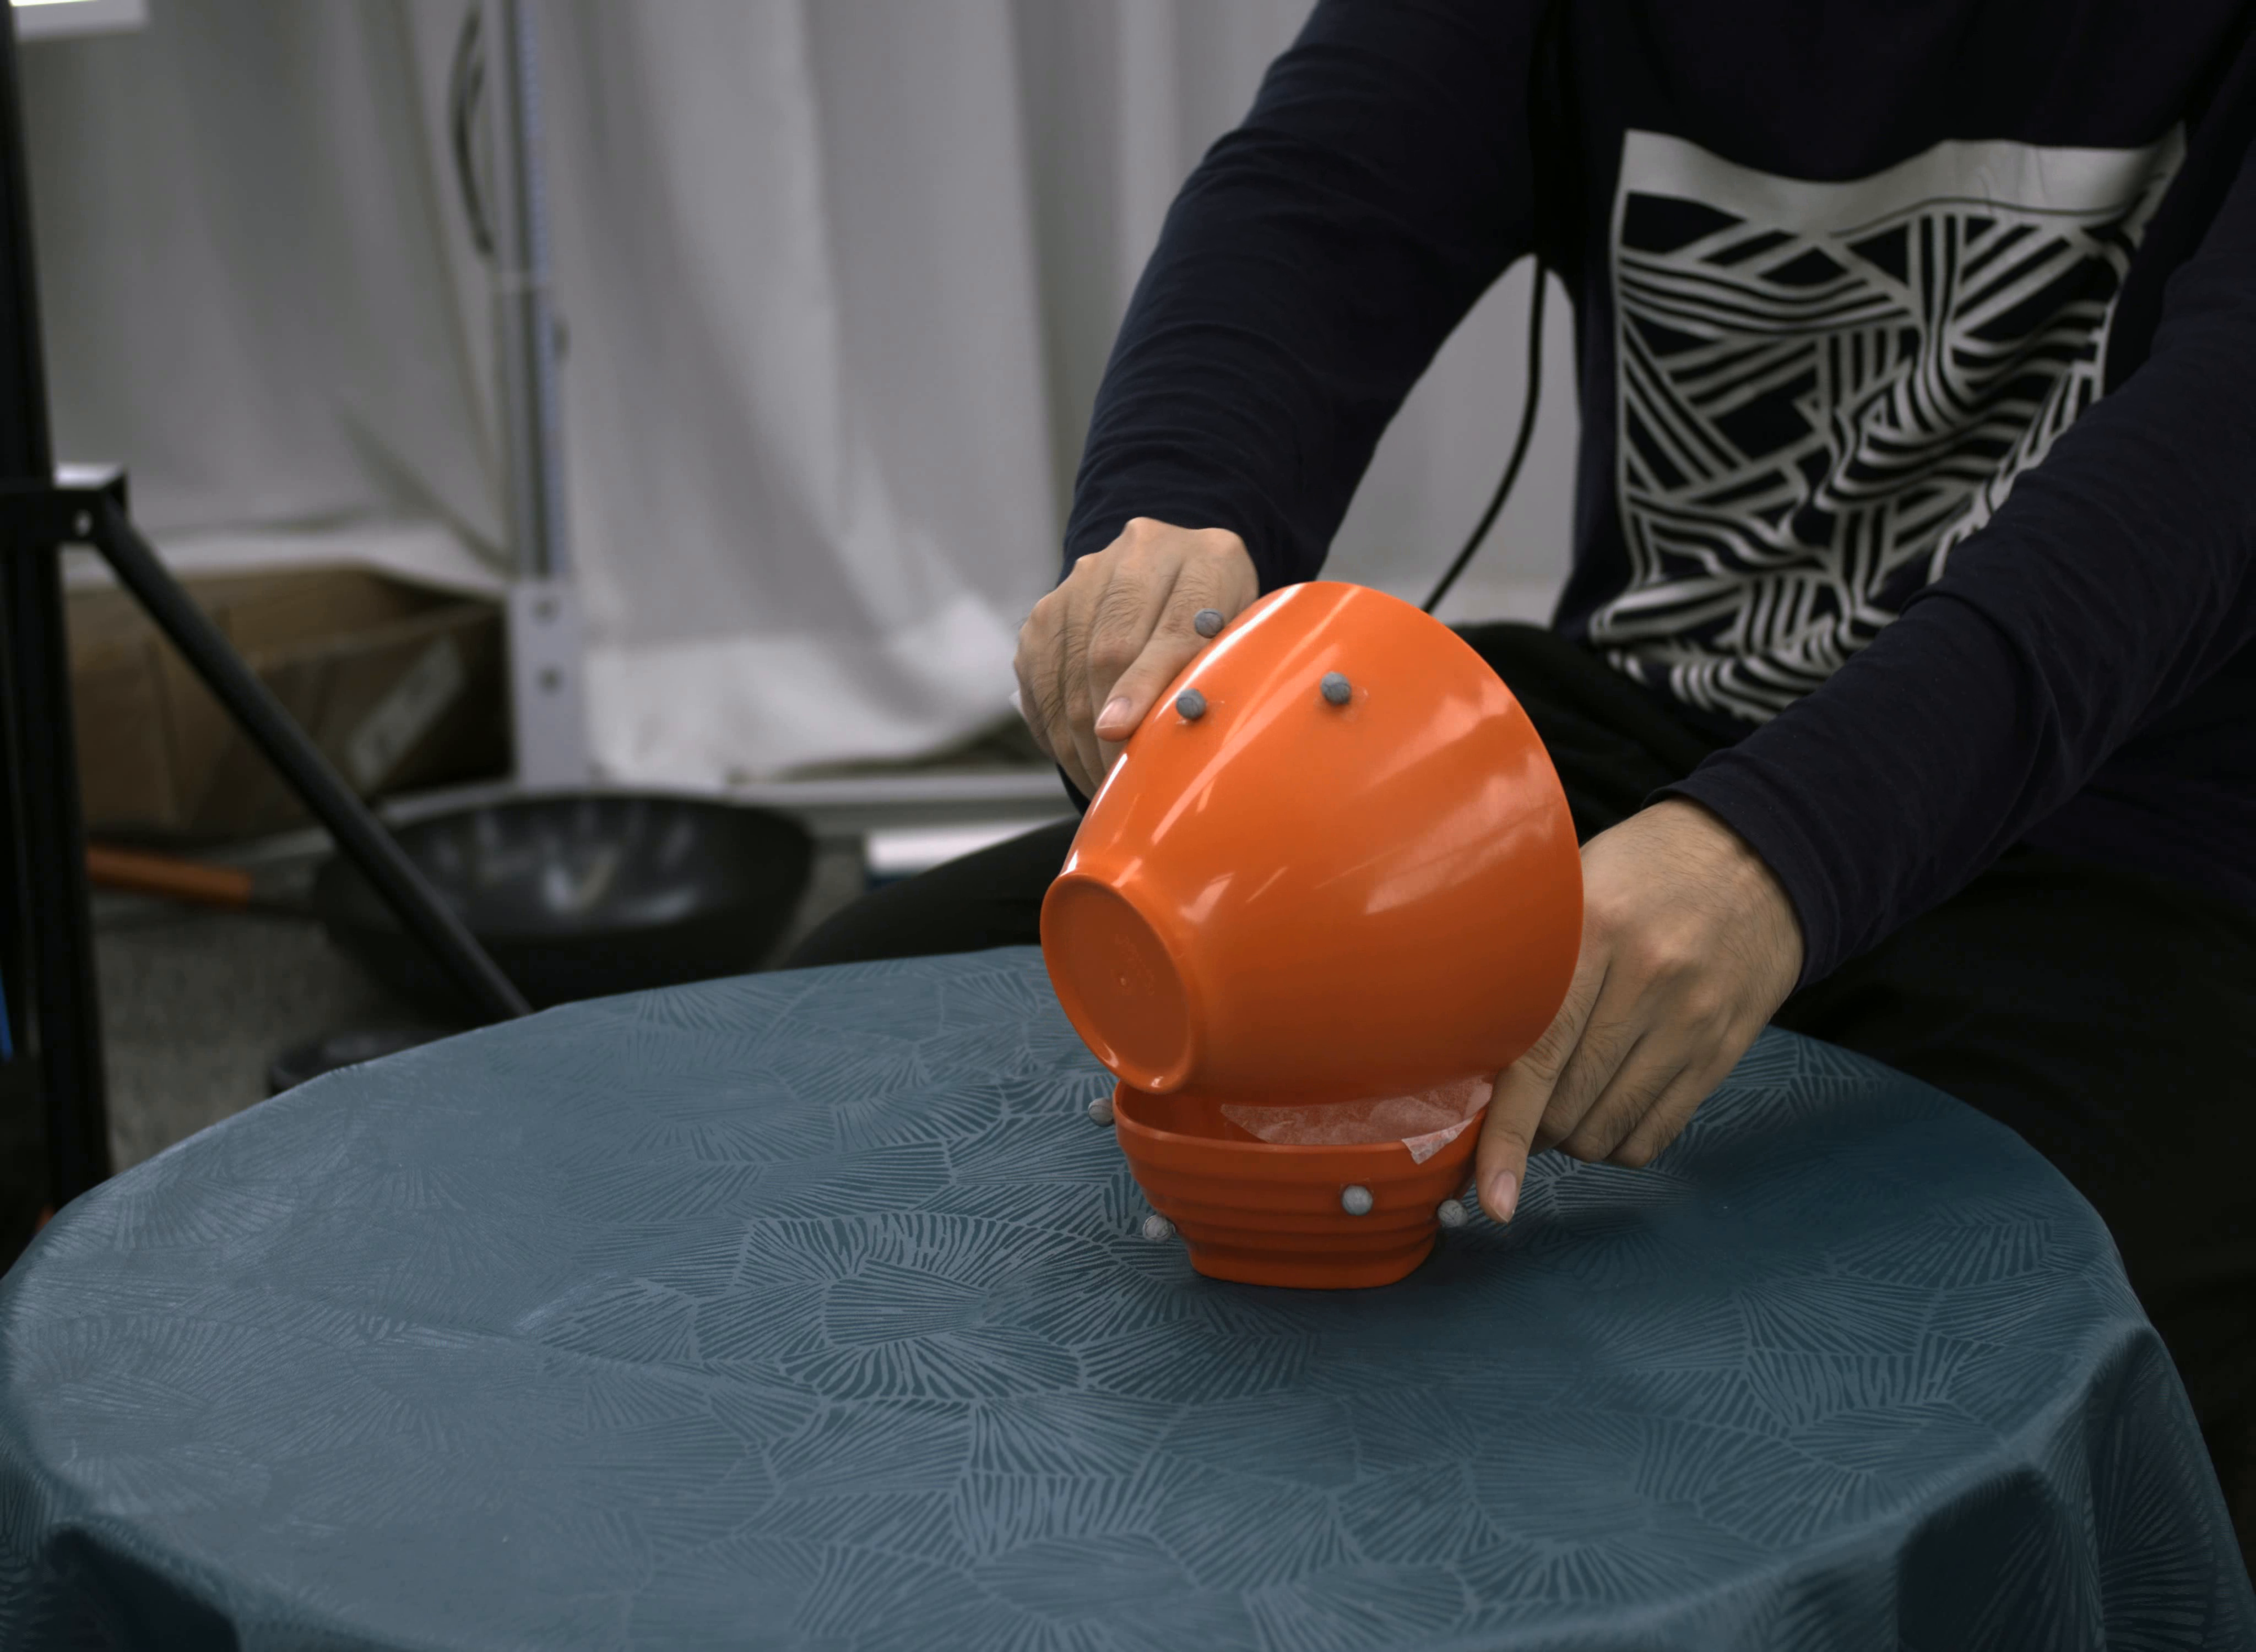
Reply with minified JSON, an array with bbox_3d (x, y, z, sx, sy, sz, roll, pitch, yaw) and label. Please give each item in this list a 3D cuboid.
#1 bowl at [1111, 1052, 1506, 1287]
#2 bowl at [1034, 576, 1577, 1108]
[{"bbox_3d":[0.053,0.095,1.502,0.118,0.051,0.119,-5,16,0],"label":"bowl"},{"bbox_3d":[0.038,0.018,1.457,0.103,0.147,0.151,-26,26,-31],"label":"bowl"}]
